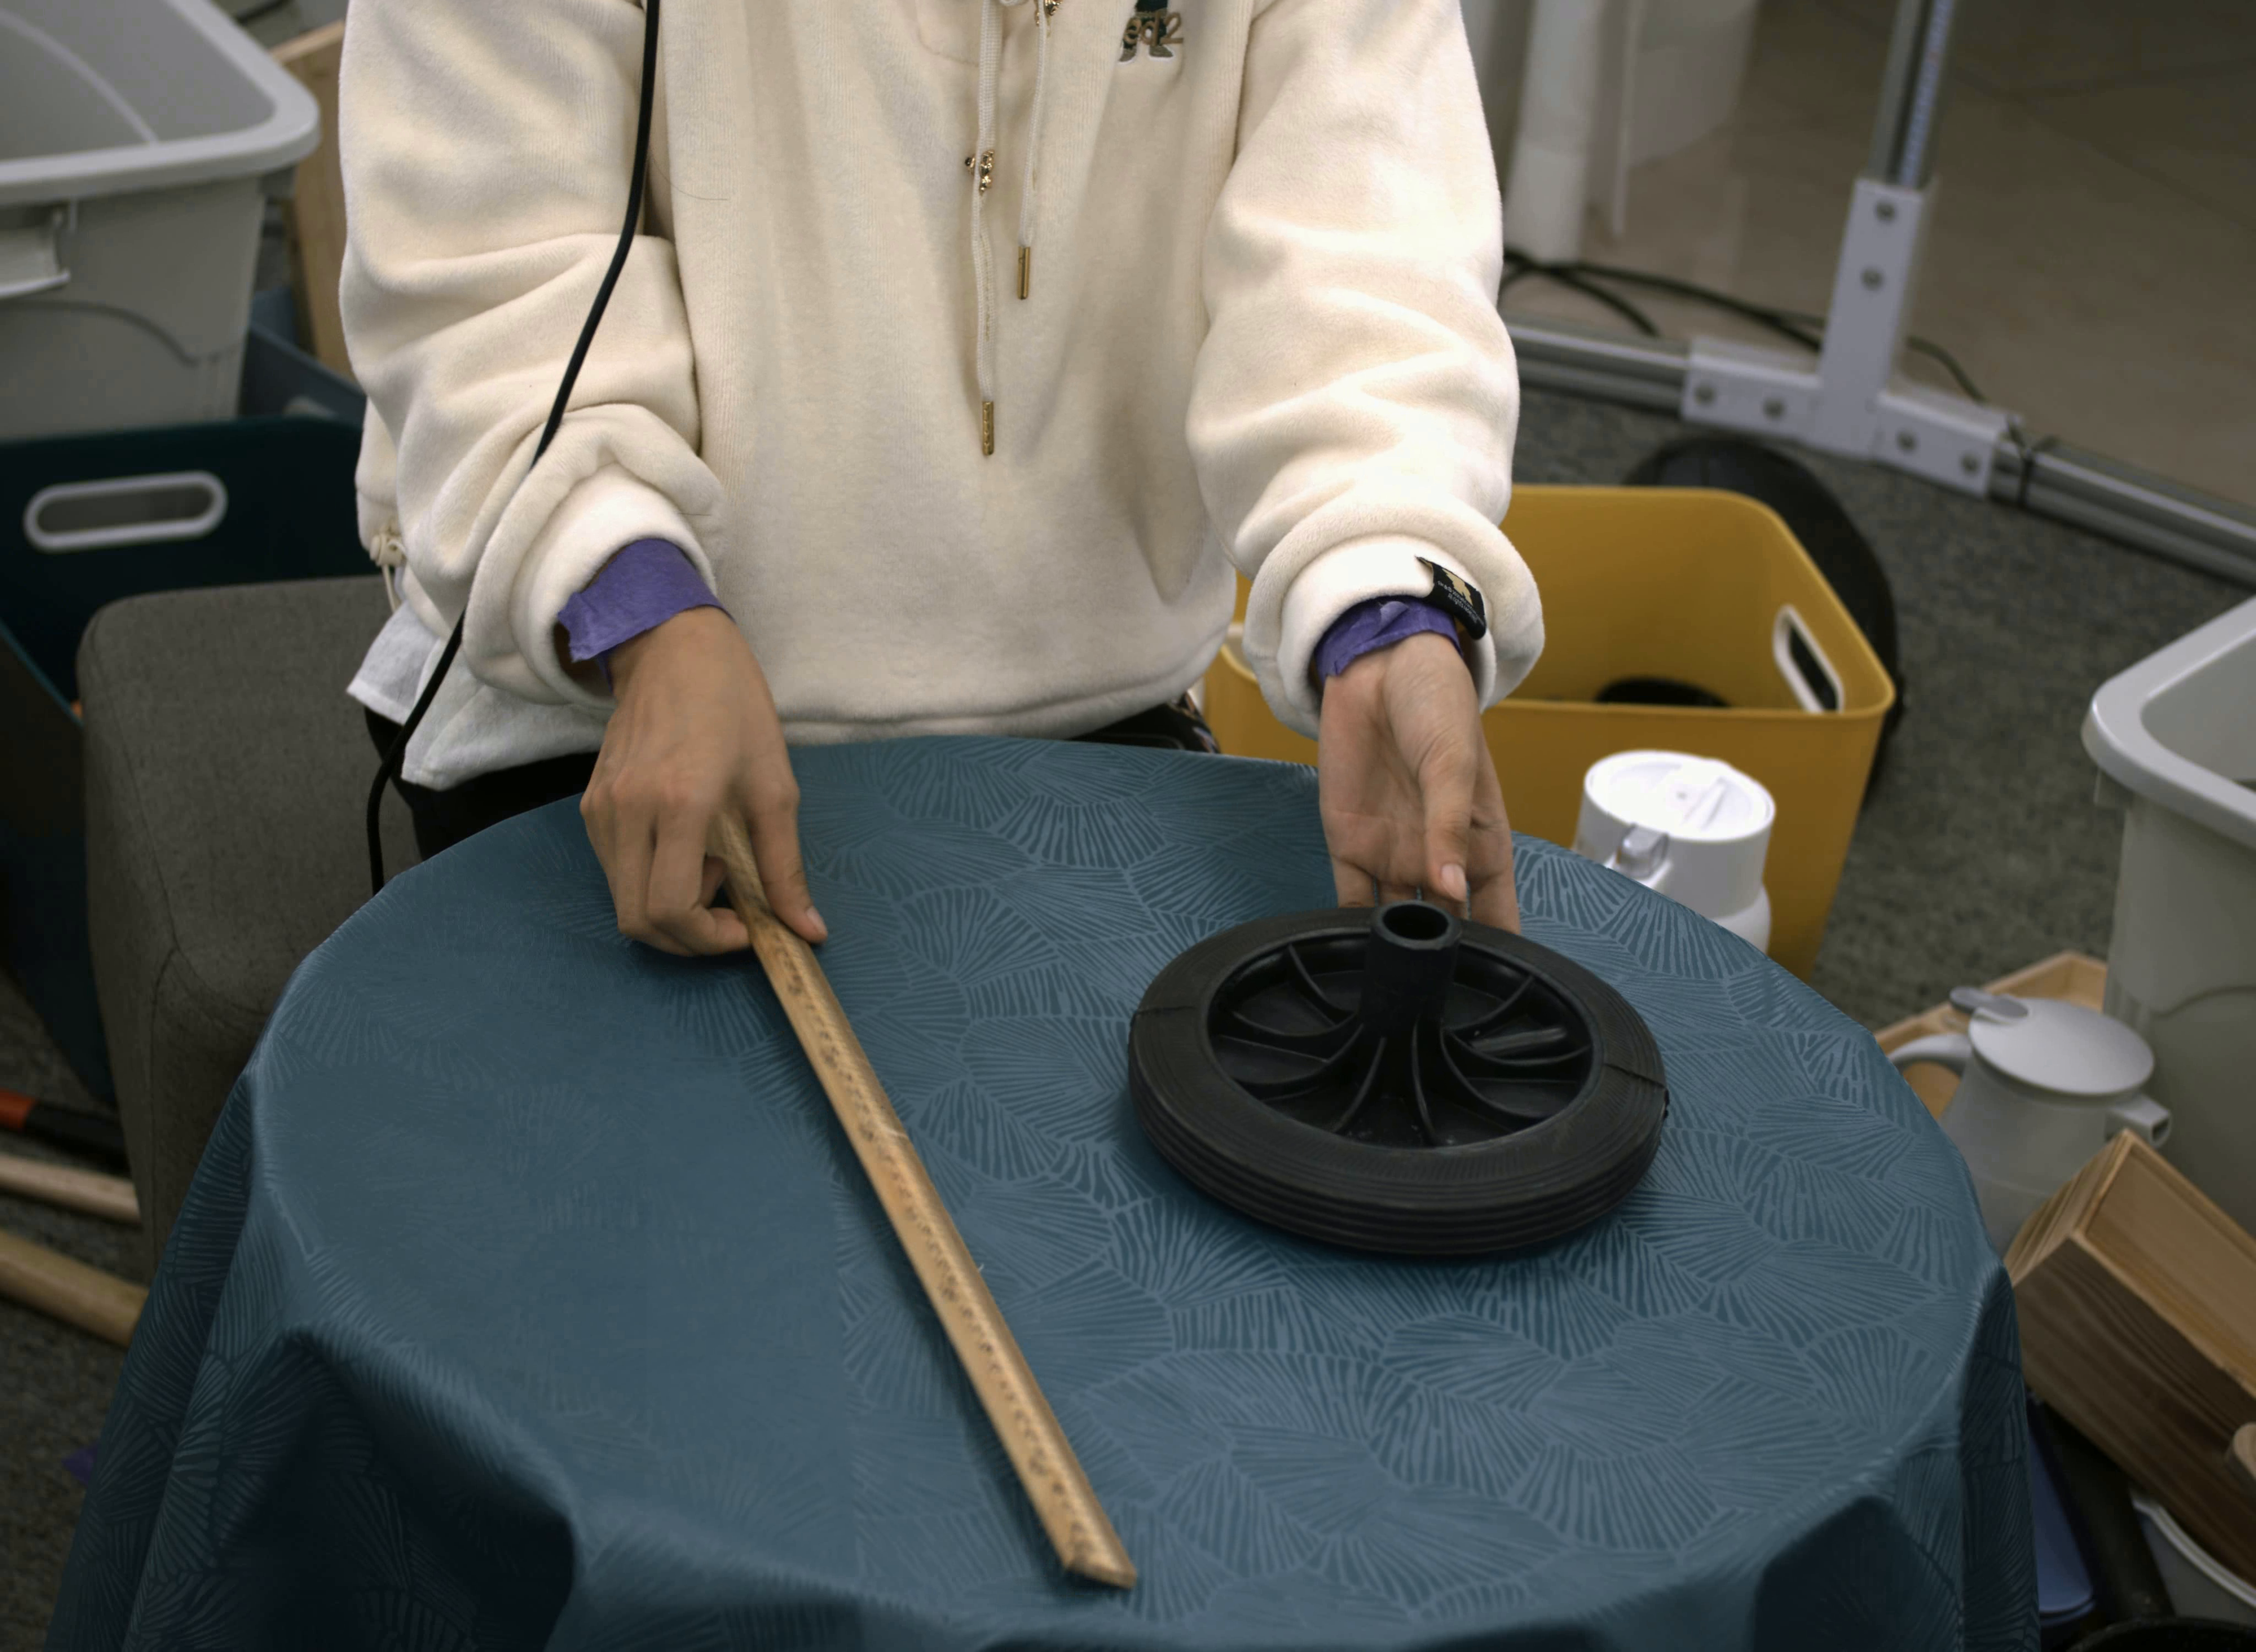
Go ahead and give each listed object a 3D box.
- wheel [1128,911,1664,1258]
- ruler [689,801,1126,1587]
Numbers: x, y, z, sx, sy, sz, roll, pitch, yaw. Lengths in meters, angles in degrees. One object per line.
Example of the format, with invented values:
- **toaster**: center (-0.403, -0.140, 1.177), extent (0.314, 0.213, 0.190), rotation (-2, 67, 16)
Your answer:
- **wheel**: center (0.096, 0.070, 1.840), extent (0.189, 0.079, 0.189), rotation (30, 38, 35)
- **ruler**: center (-0.084, 0.109, 1.799), extent (0.026, 0.006, 0.505), rotation (14, 22, -25)
